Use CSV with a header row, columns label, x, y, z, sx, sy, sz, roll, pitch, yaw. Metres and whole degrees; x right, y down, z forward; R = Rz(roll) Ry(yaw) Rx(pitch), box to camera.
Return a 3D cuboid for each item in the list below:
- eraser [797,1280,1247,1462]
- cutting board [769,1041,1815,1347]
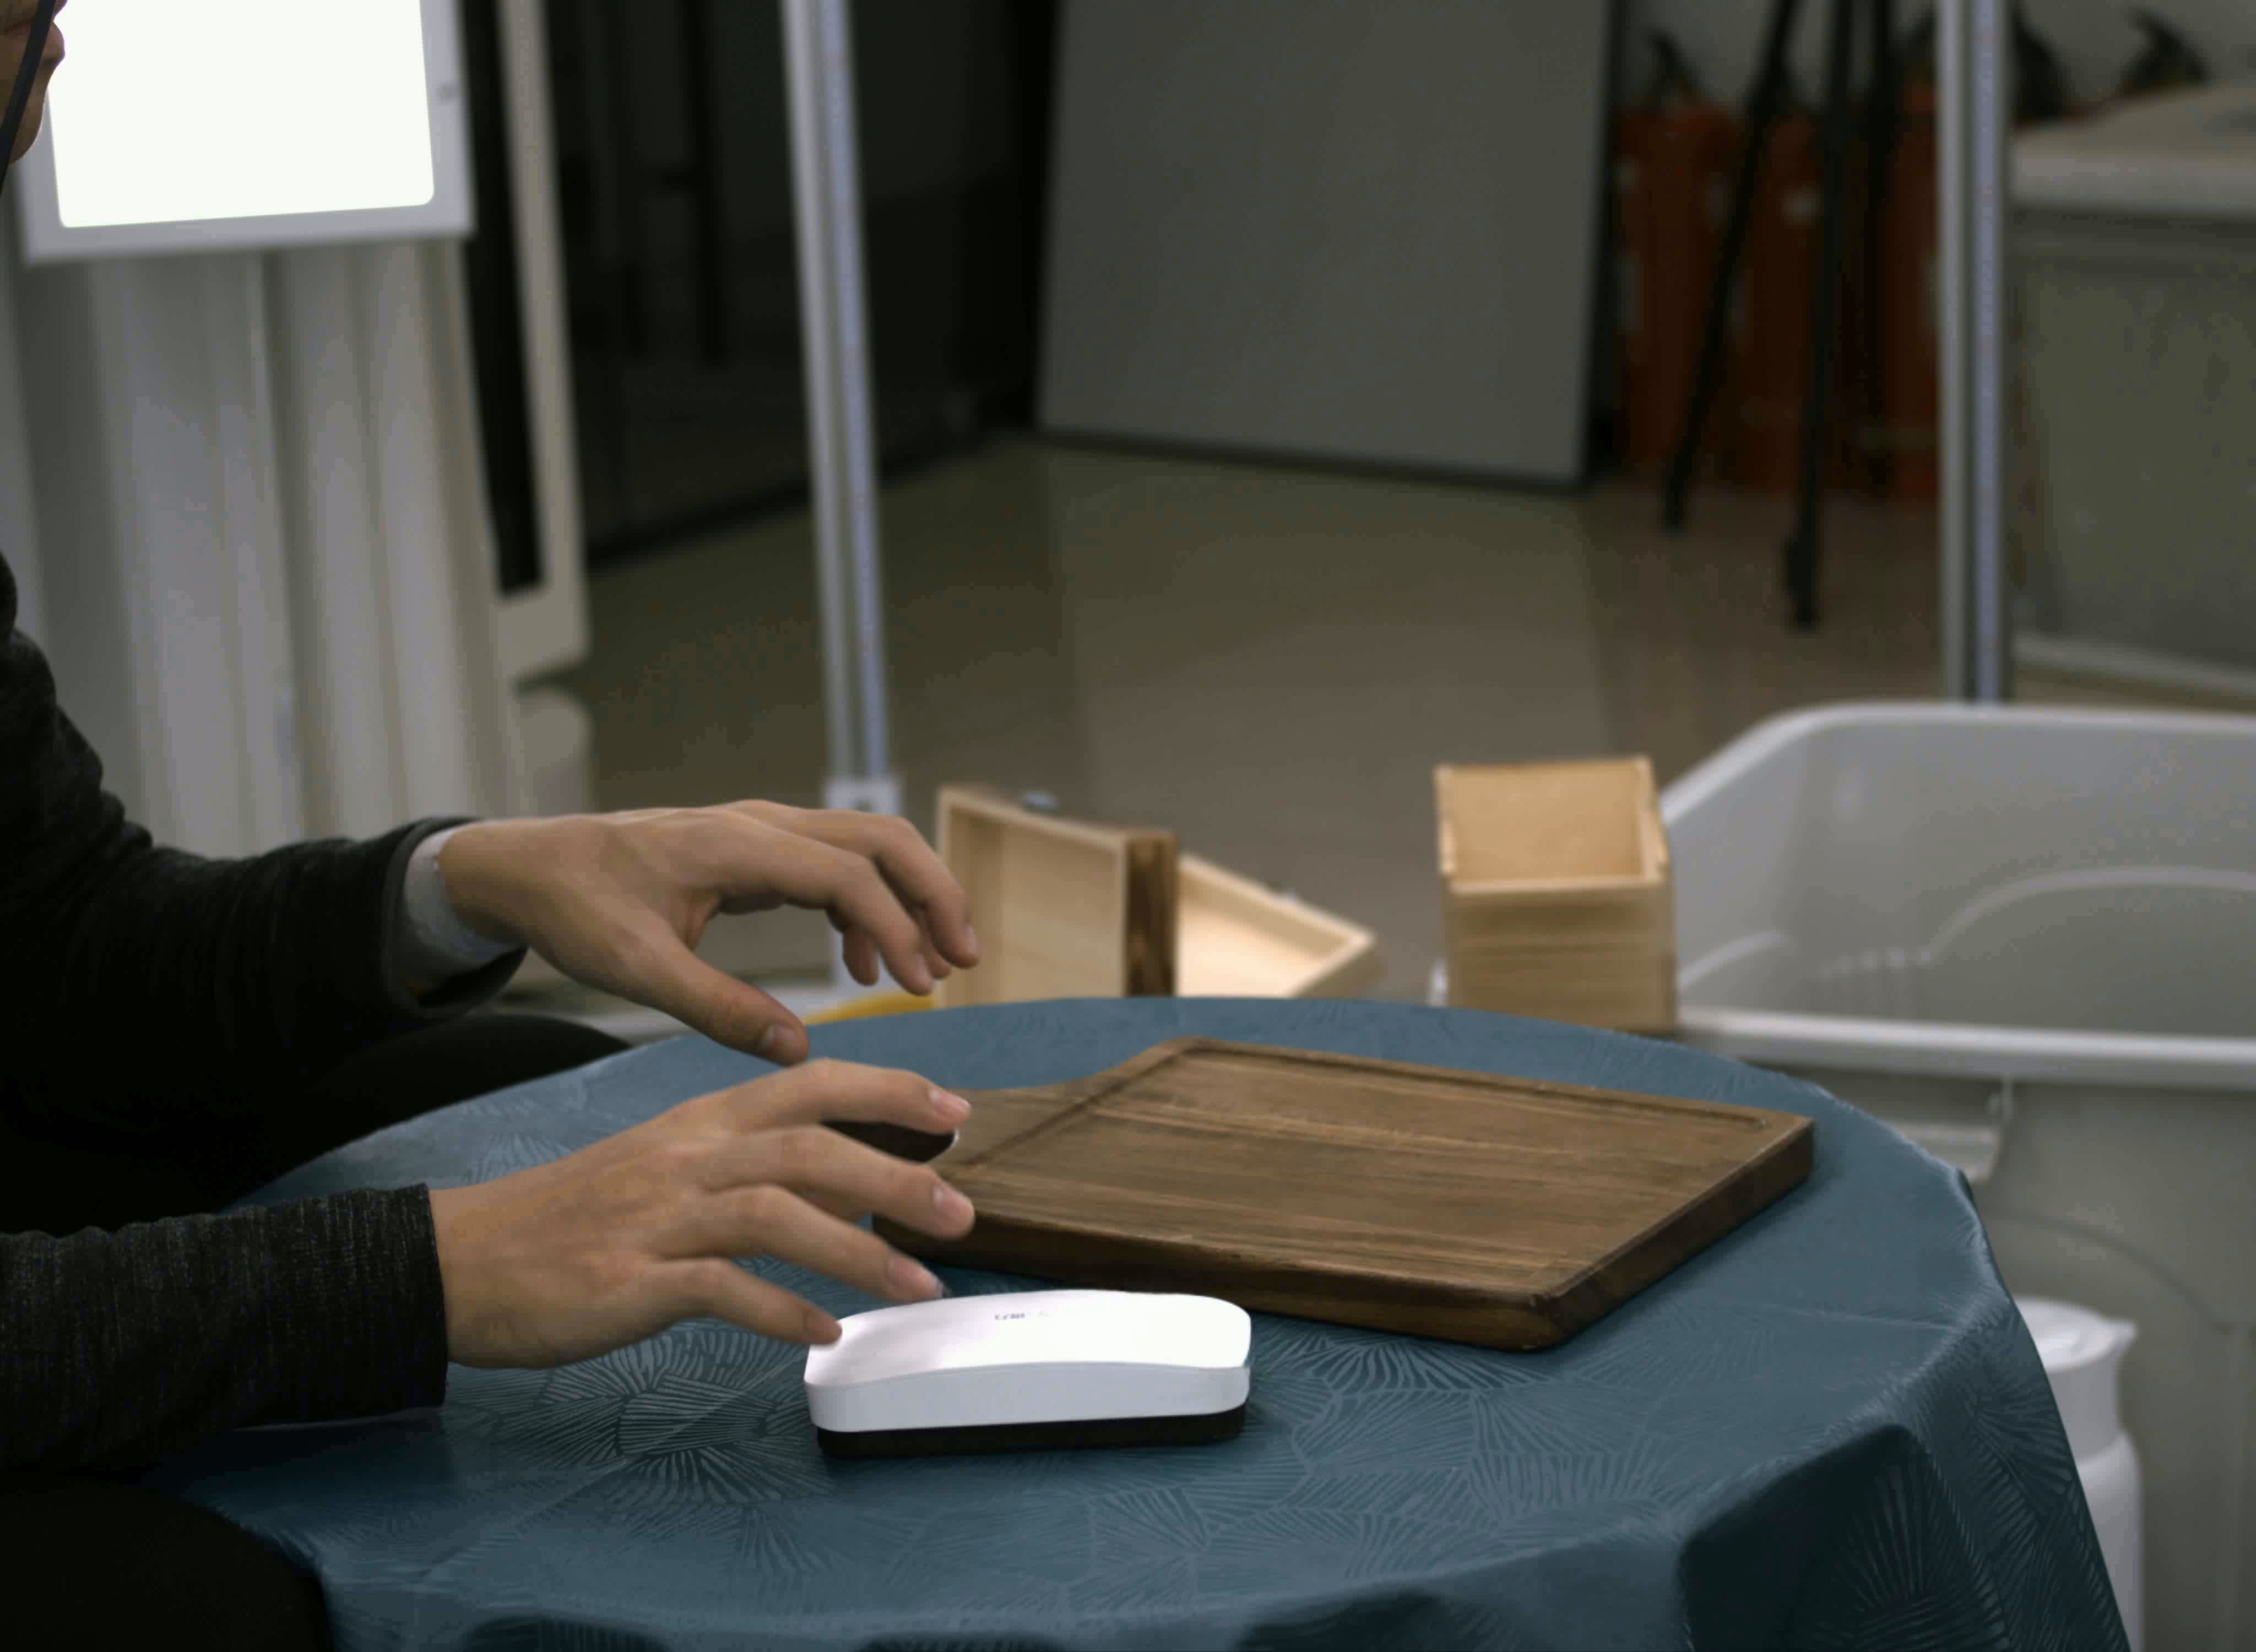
label,x,y,z,sx,sy,sz,roll,pitch,yaw
eraser,-0.030,0.158,1.564,0.130,0.035,0.063,-2,15,4
cutting board,0.030,0.111,1.759,0.354,0.023,0.198,5,16,33
